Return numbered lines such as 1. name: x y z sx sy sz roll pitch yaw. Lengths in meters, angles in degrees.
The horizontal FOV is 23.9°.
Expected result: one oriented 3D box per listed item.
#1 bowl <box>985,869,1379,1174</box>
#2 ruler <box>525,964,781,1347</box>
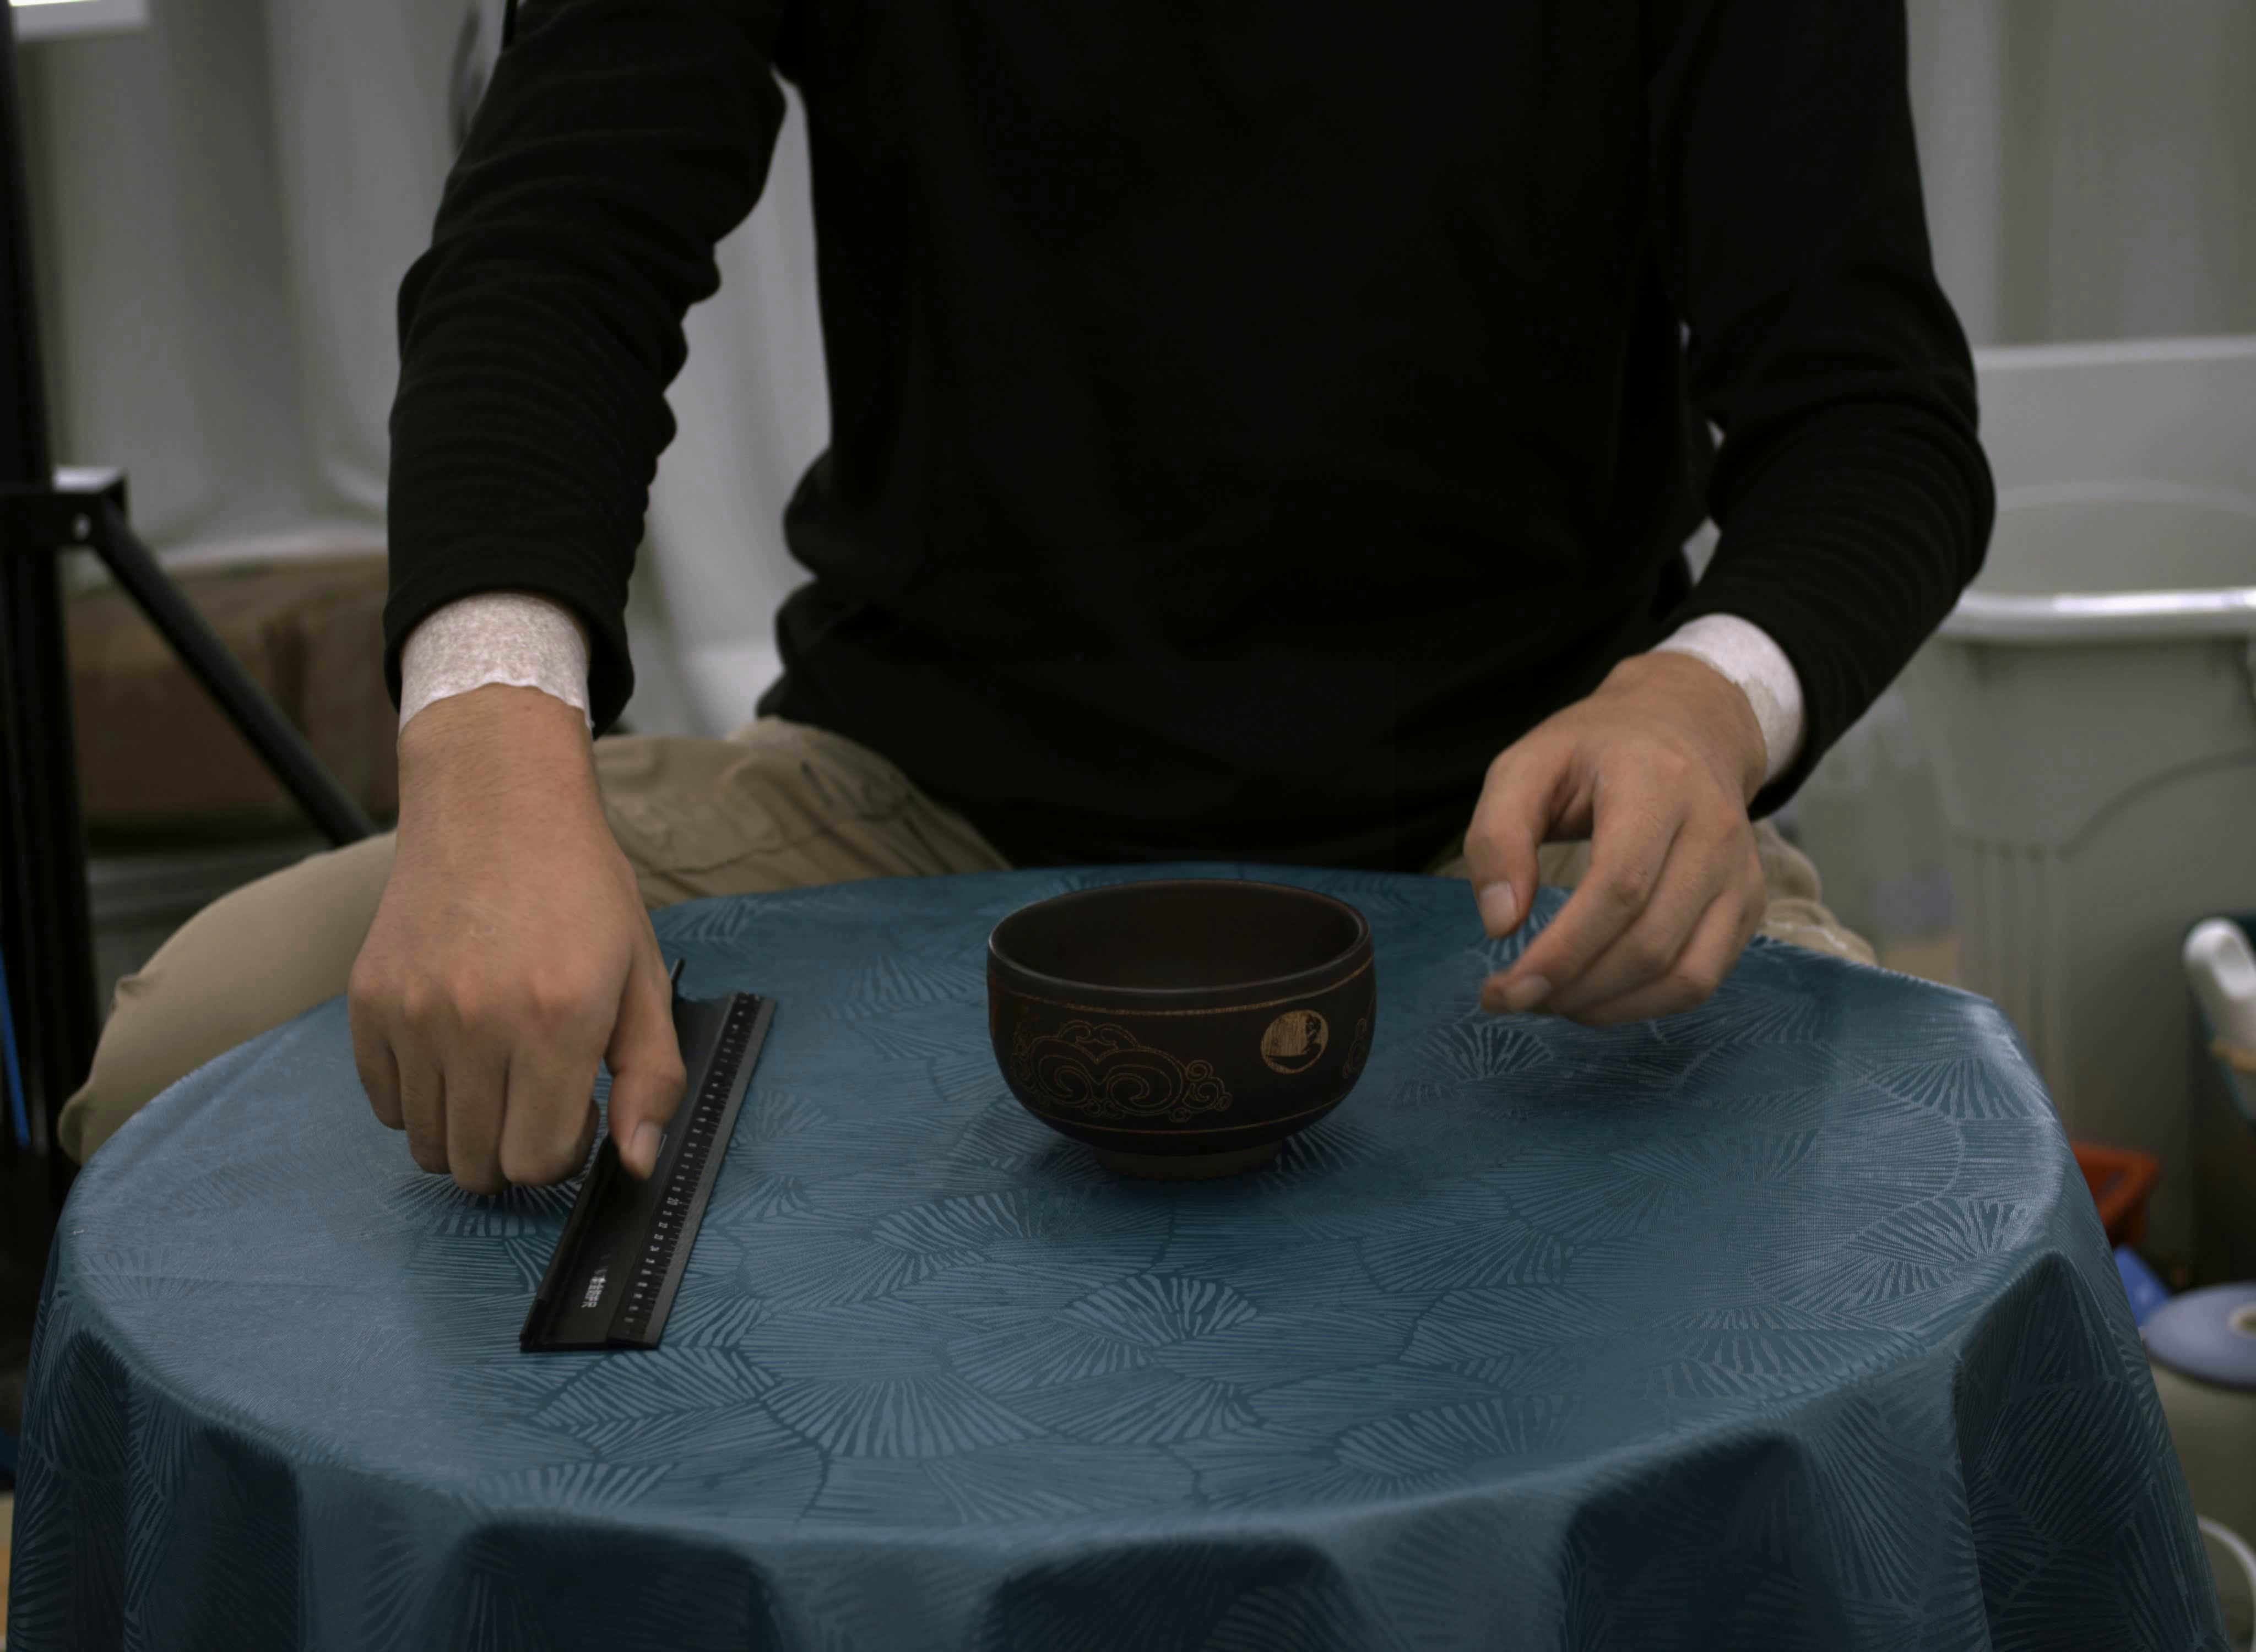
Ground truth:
1. bowl: 0.017 0.062 1.582 0.117 0.070 0.118 -2 16 -1
2. ruler: -0.139 0.094 1.602 0.039 0.017 0.313 2 16 2
